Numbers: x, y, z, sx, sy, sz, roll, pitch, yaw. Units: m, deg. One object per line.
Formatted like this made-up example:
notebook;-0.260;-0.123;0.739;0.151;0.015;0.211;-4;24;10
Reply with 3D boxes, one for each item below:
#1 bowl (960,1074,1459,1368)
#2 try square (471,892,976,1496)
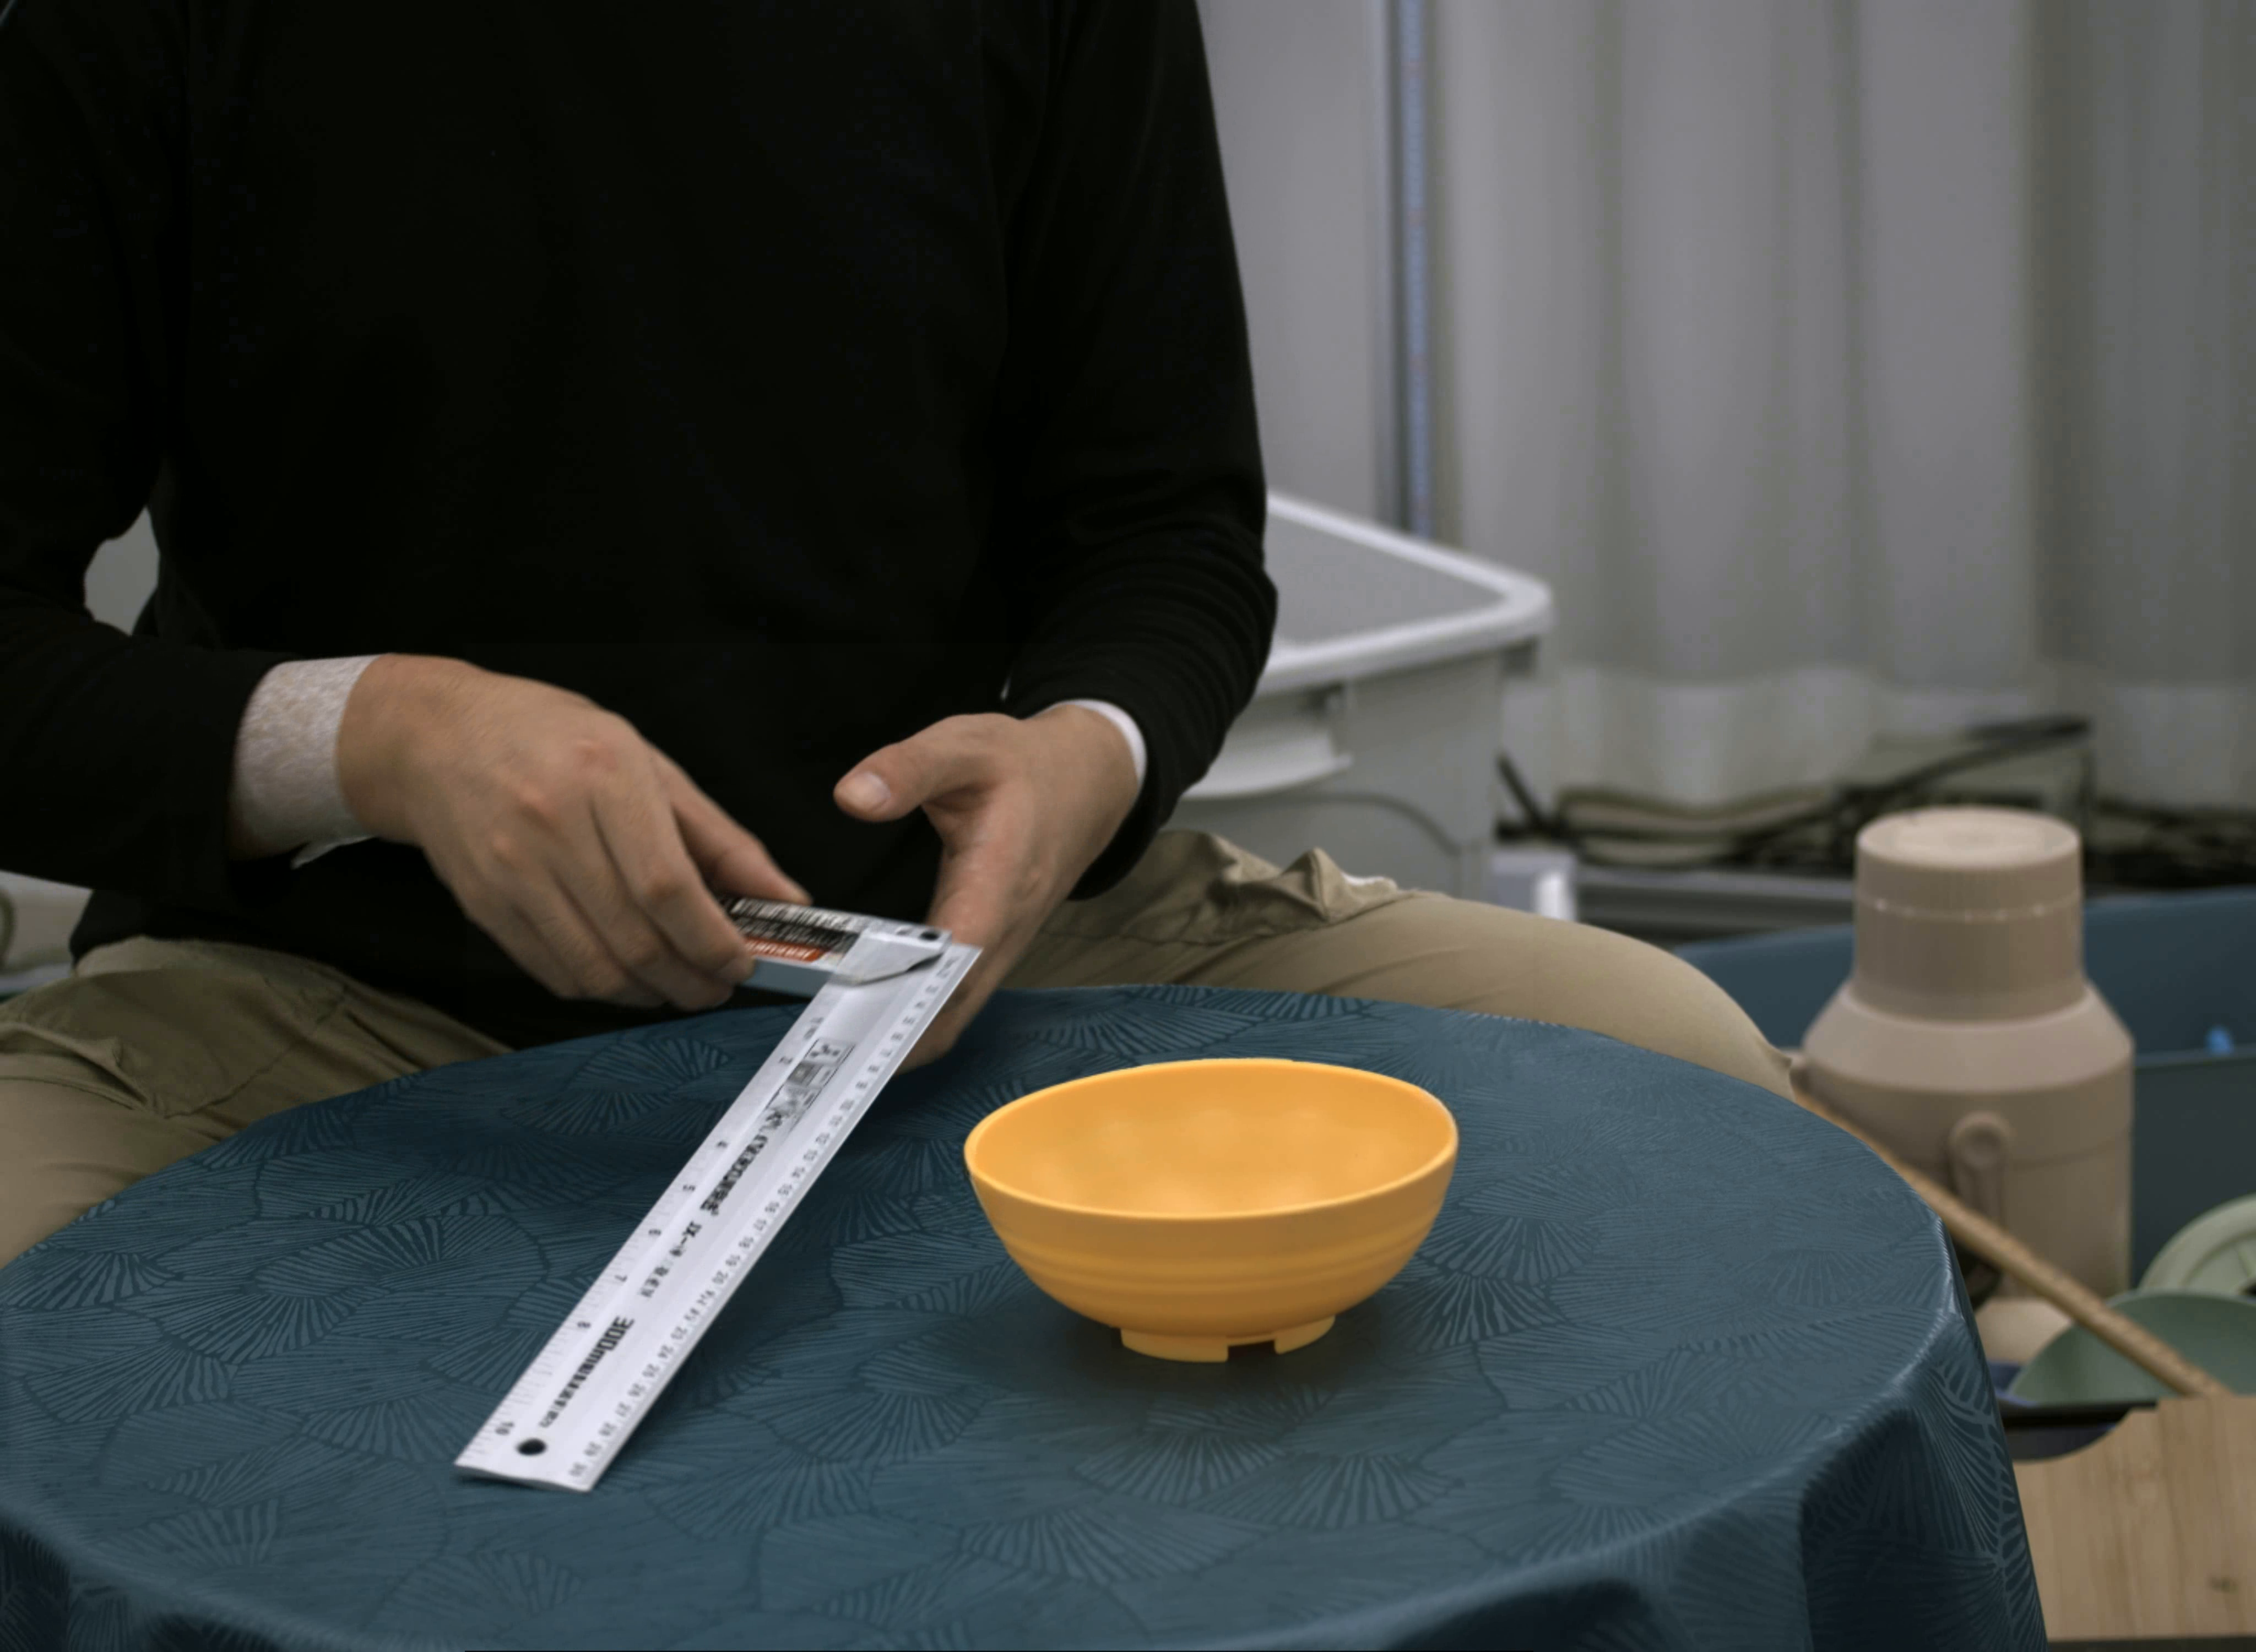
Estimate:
bowl;0.024;0.119;1.587;0.145;0.060;0.146;-1;12;0
try square;-0.166;0.104;1.640;0.152;0.016;0.315;6;29;17
